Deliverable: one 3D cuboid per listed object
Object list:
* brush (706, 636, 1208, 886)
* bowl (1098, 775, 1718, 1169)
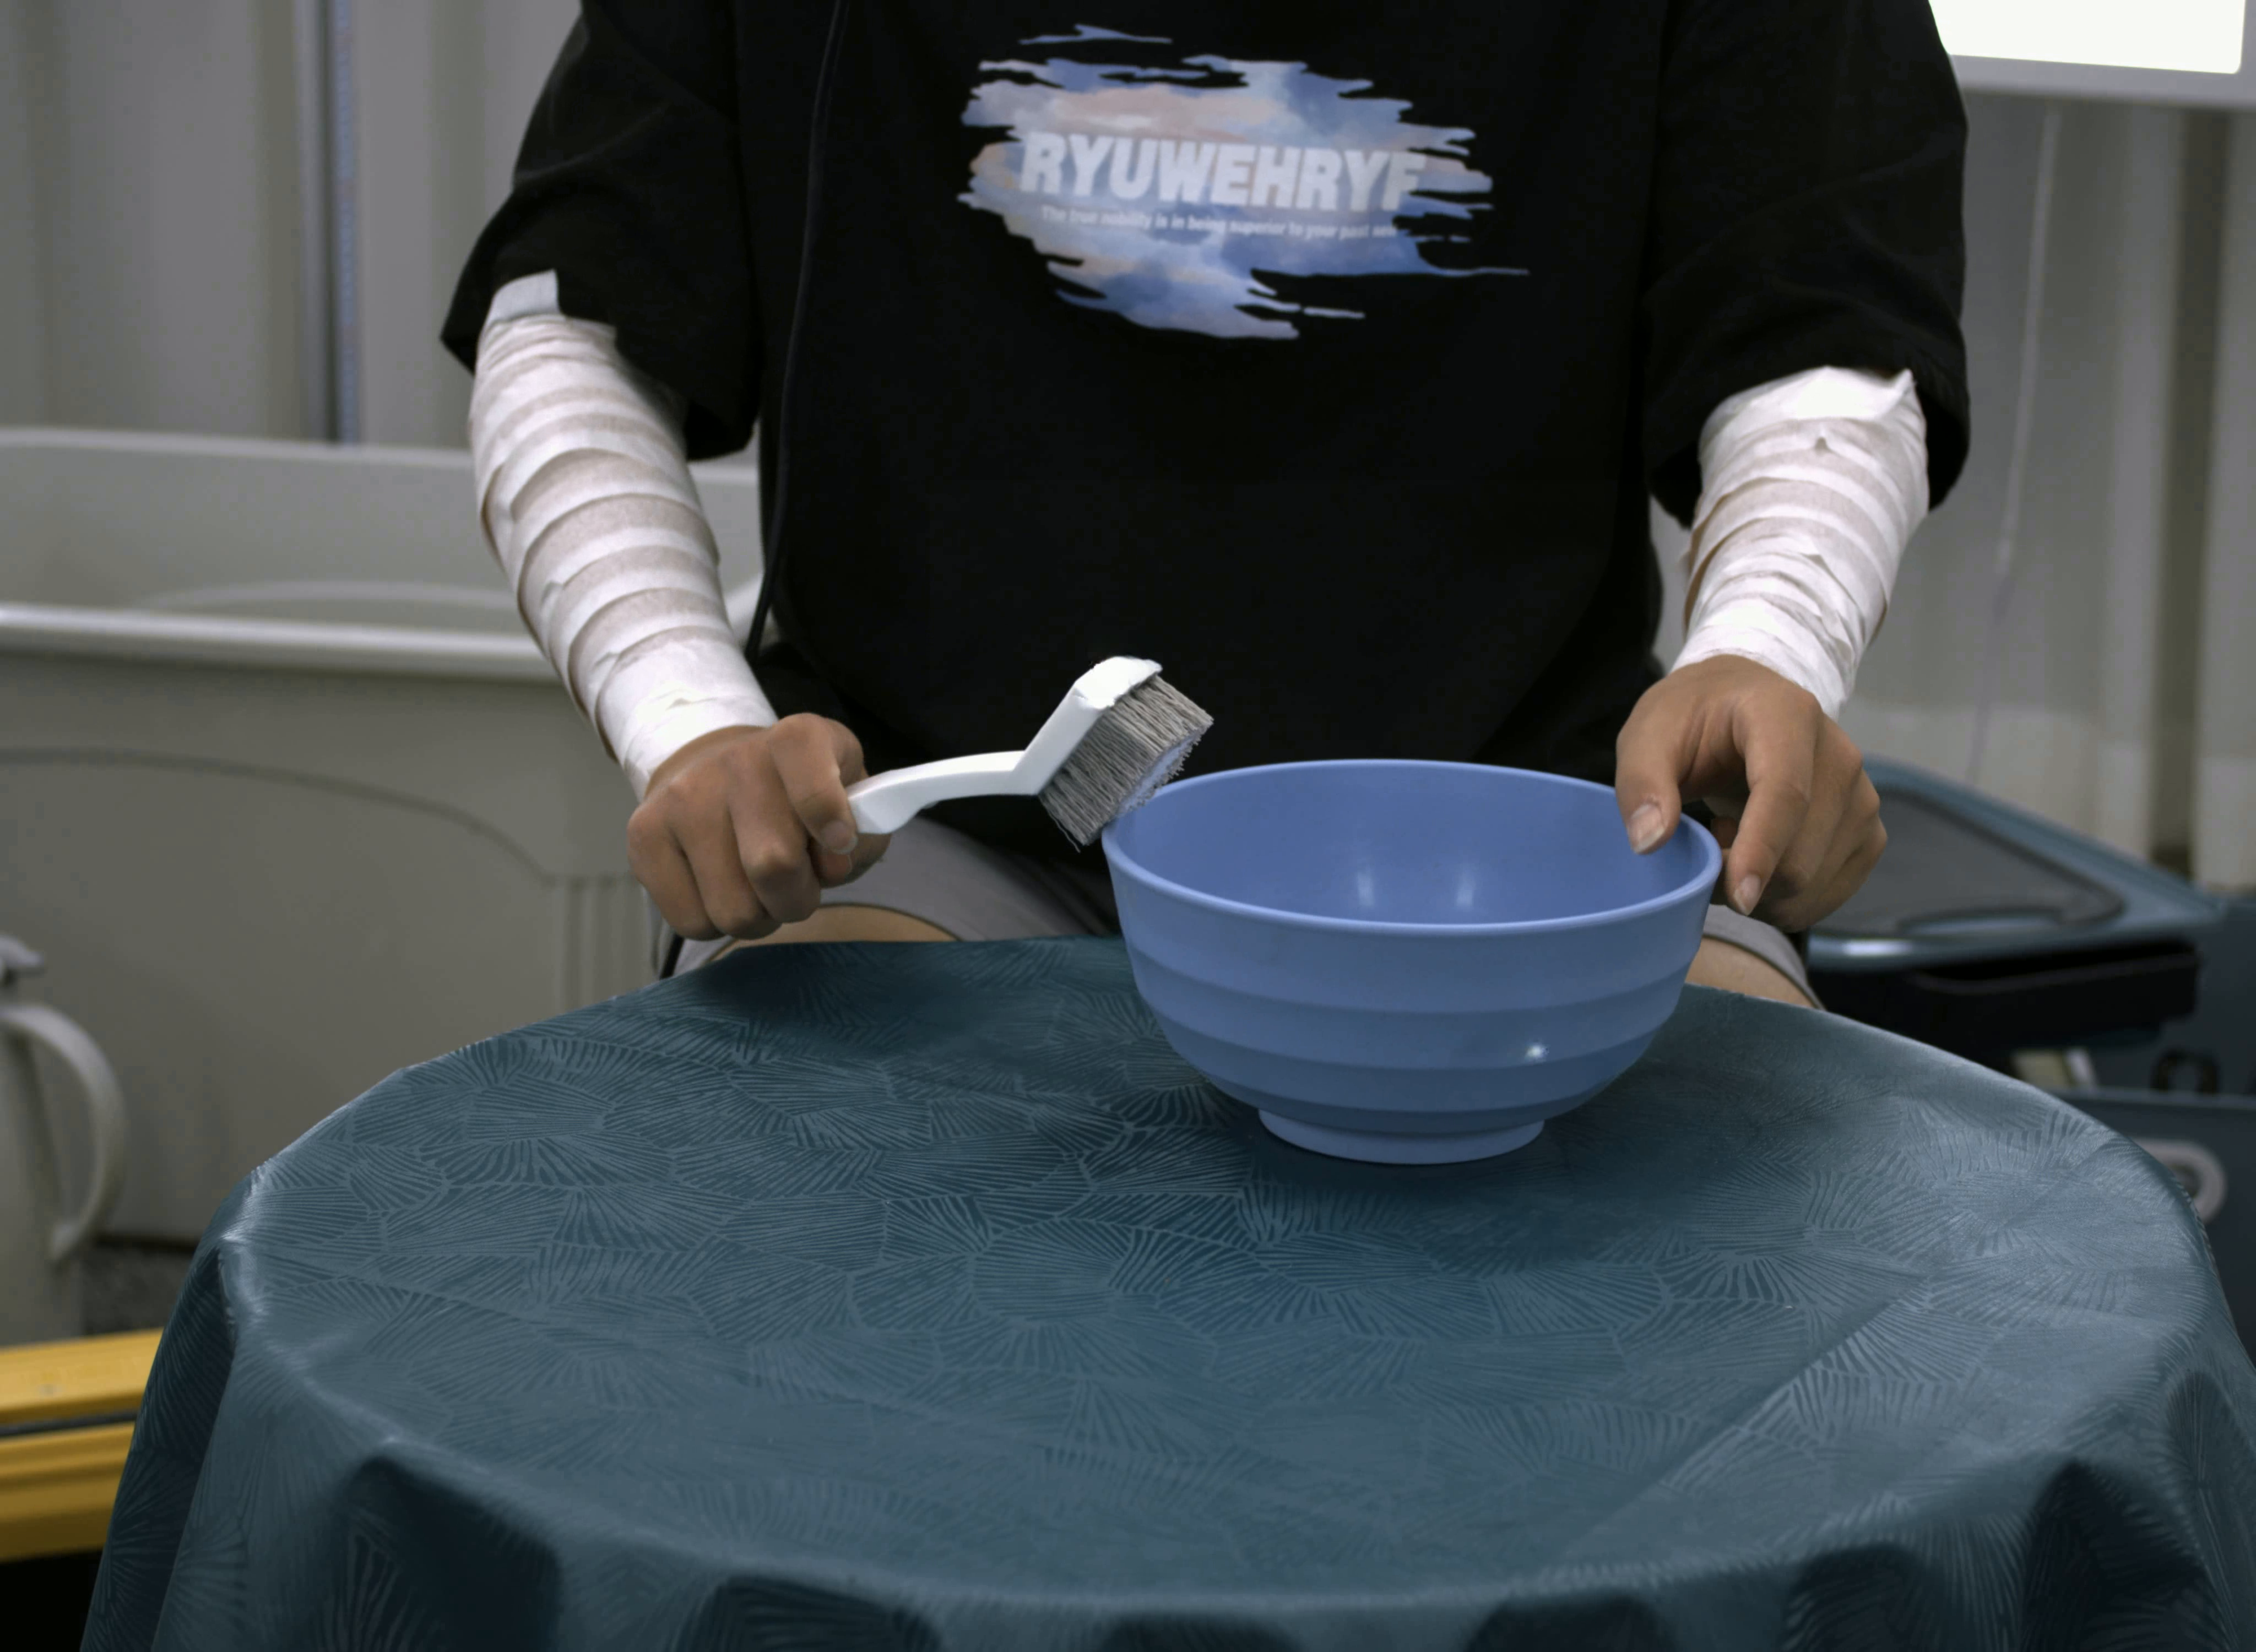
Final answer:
[{"bbox_3d":[-0.058,-0.003,1.730,0.034,0.050,0.242,-36,7,-42],"label":"brush"},{"bbox_3d":[0.089,0.051,1.678,0.196,0.096,0.195,0,14,1],"label":"bowl"}]
